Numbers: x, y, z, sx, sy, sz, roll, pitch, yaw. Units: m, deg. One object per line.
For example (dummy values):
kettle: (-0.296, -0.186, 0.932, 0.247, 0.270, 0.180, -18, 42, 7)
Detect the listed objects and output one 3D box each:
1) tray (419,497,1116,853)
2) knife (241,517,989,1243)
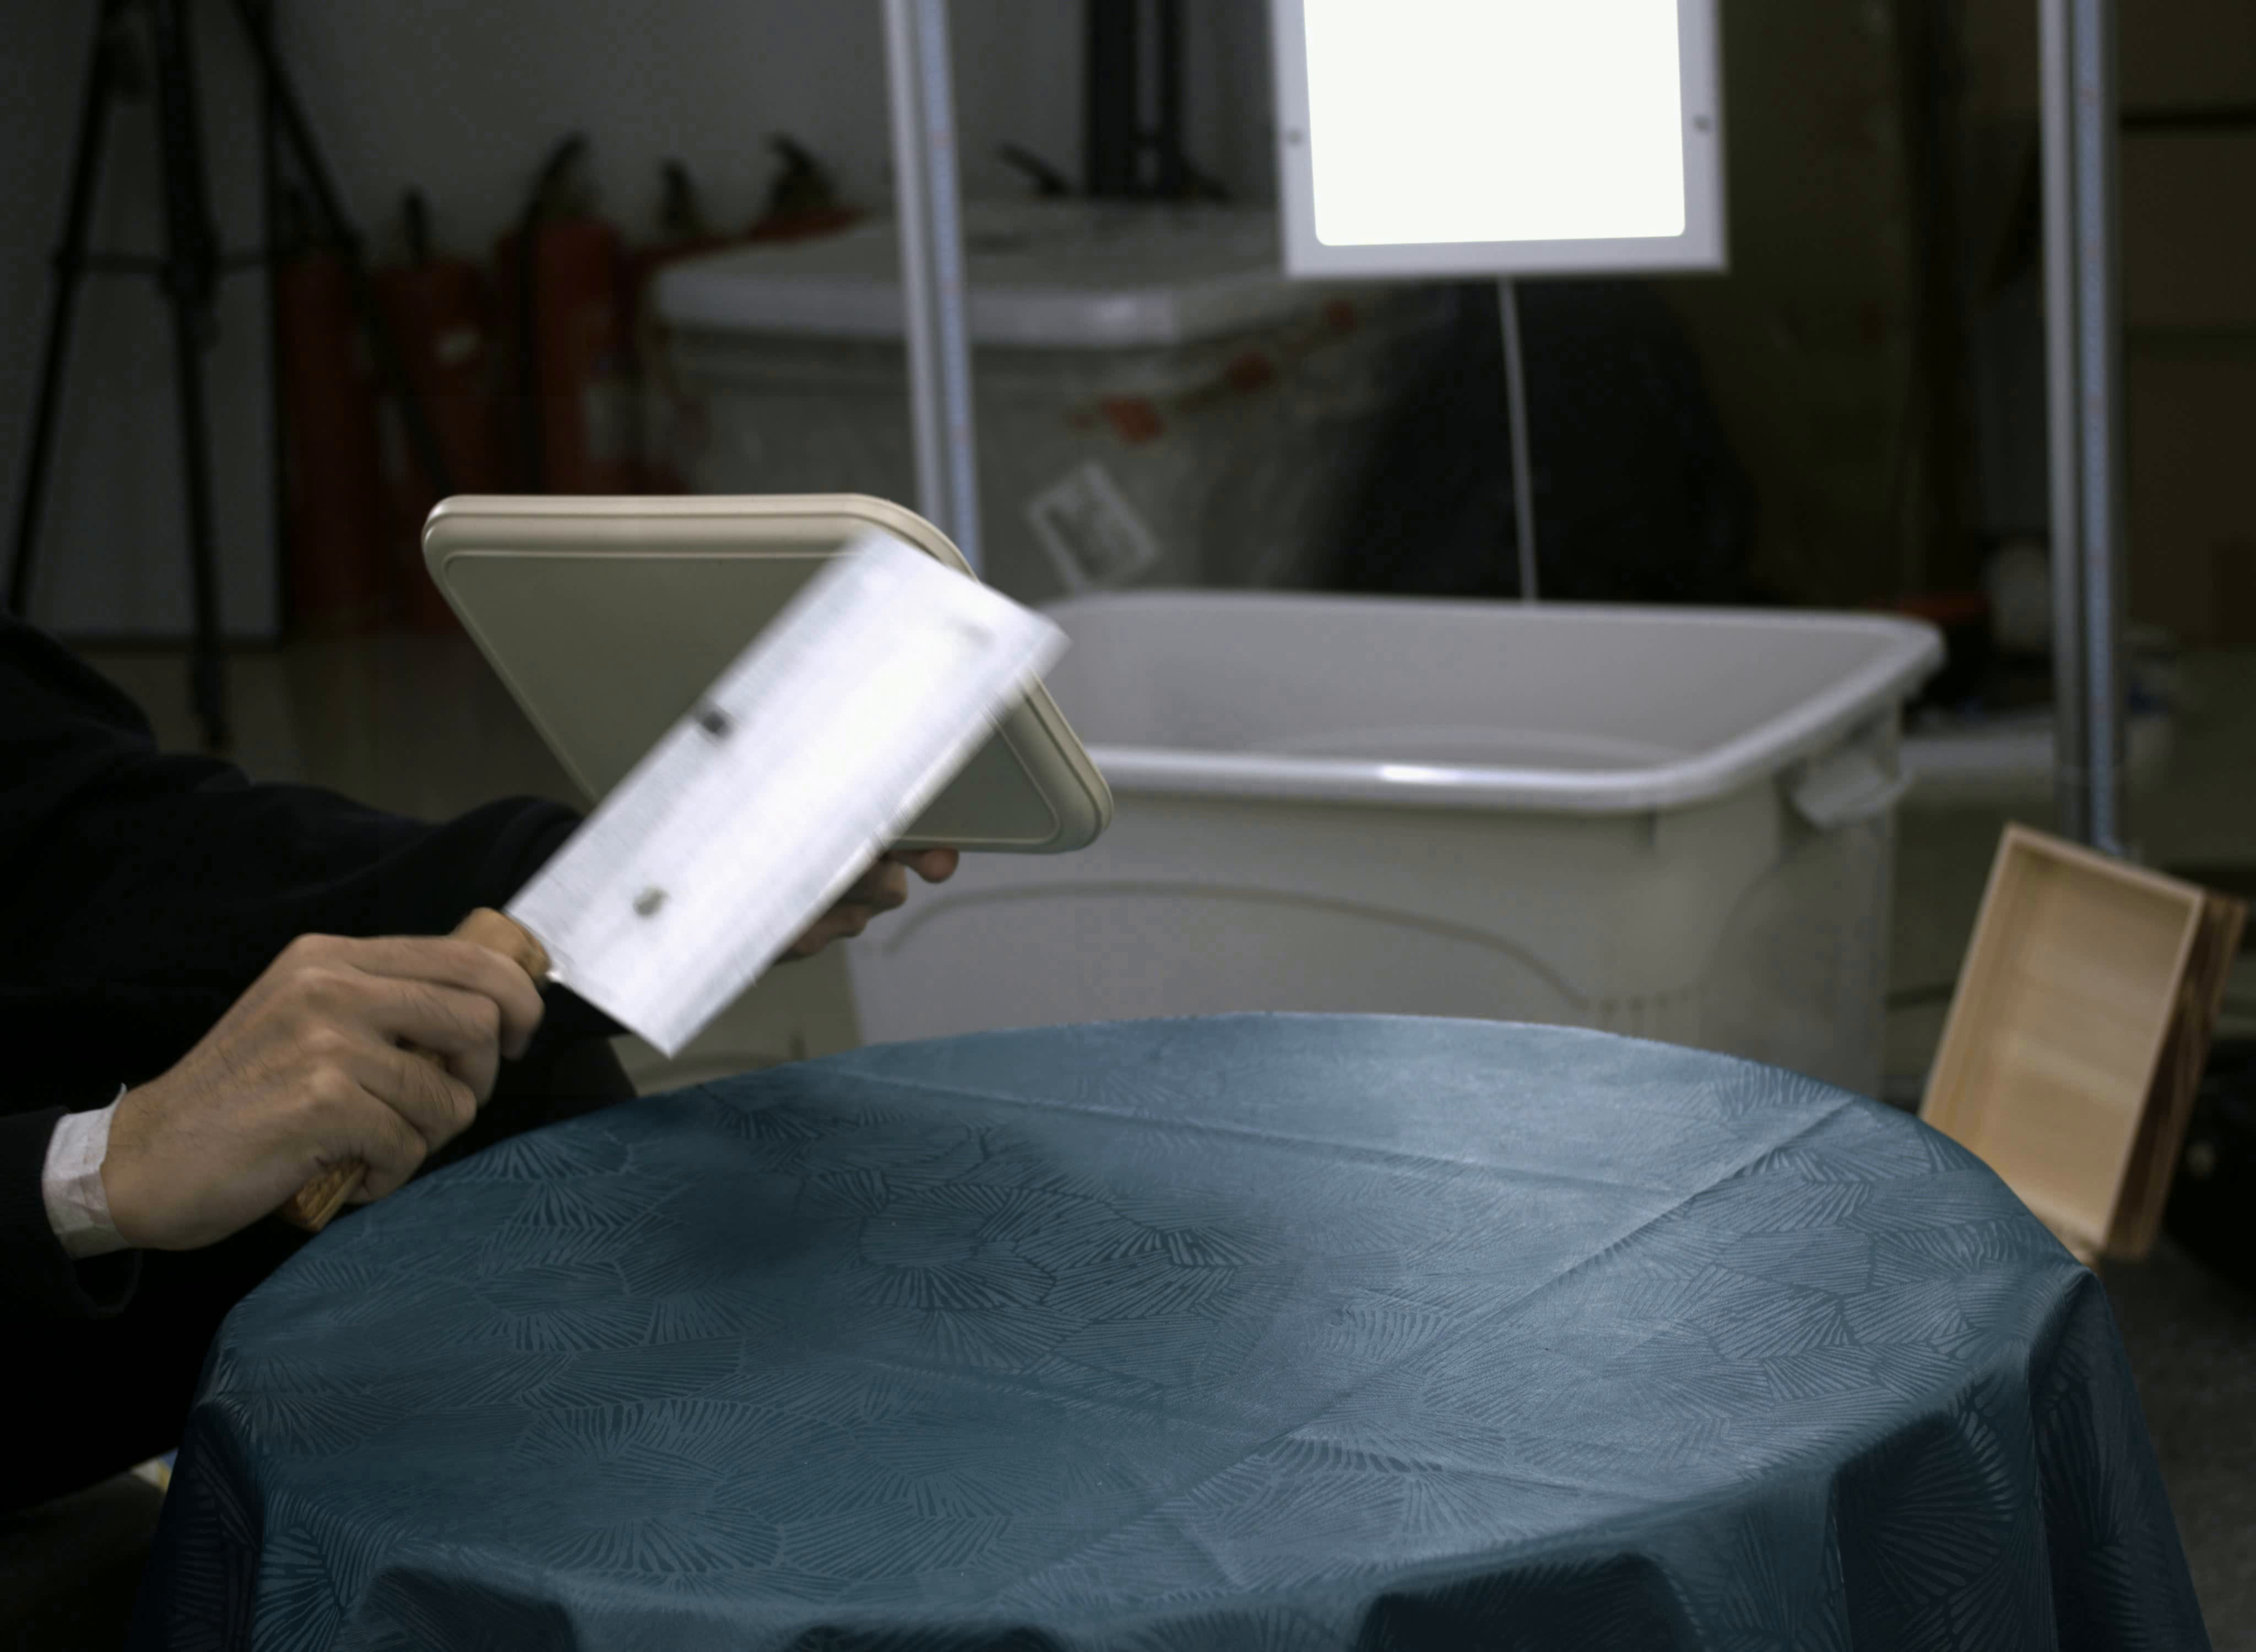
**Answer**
tray: (-0.128, -0.049, 1.910, 0.245, 0.170, 0.017, 2, 49, 38)
knife: (-0.154, 0.021, 1.736, 0.094, 0.021, 0.302, 28, 69, 35)
